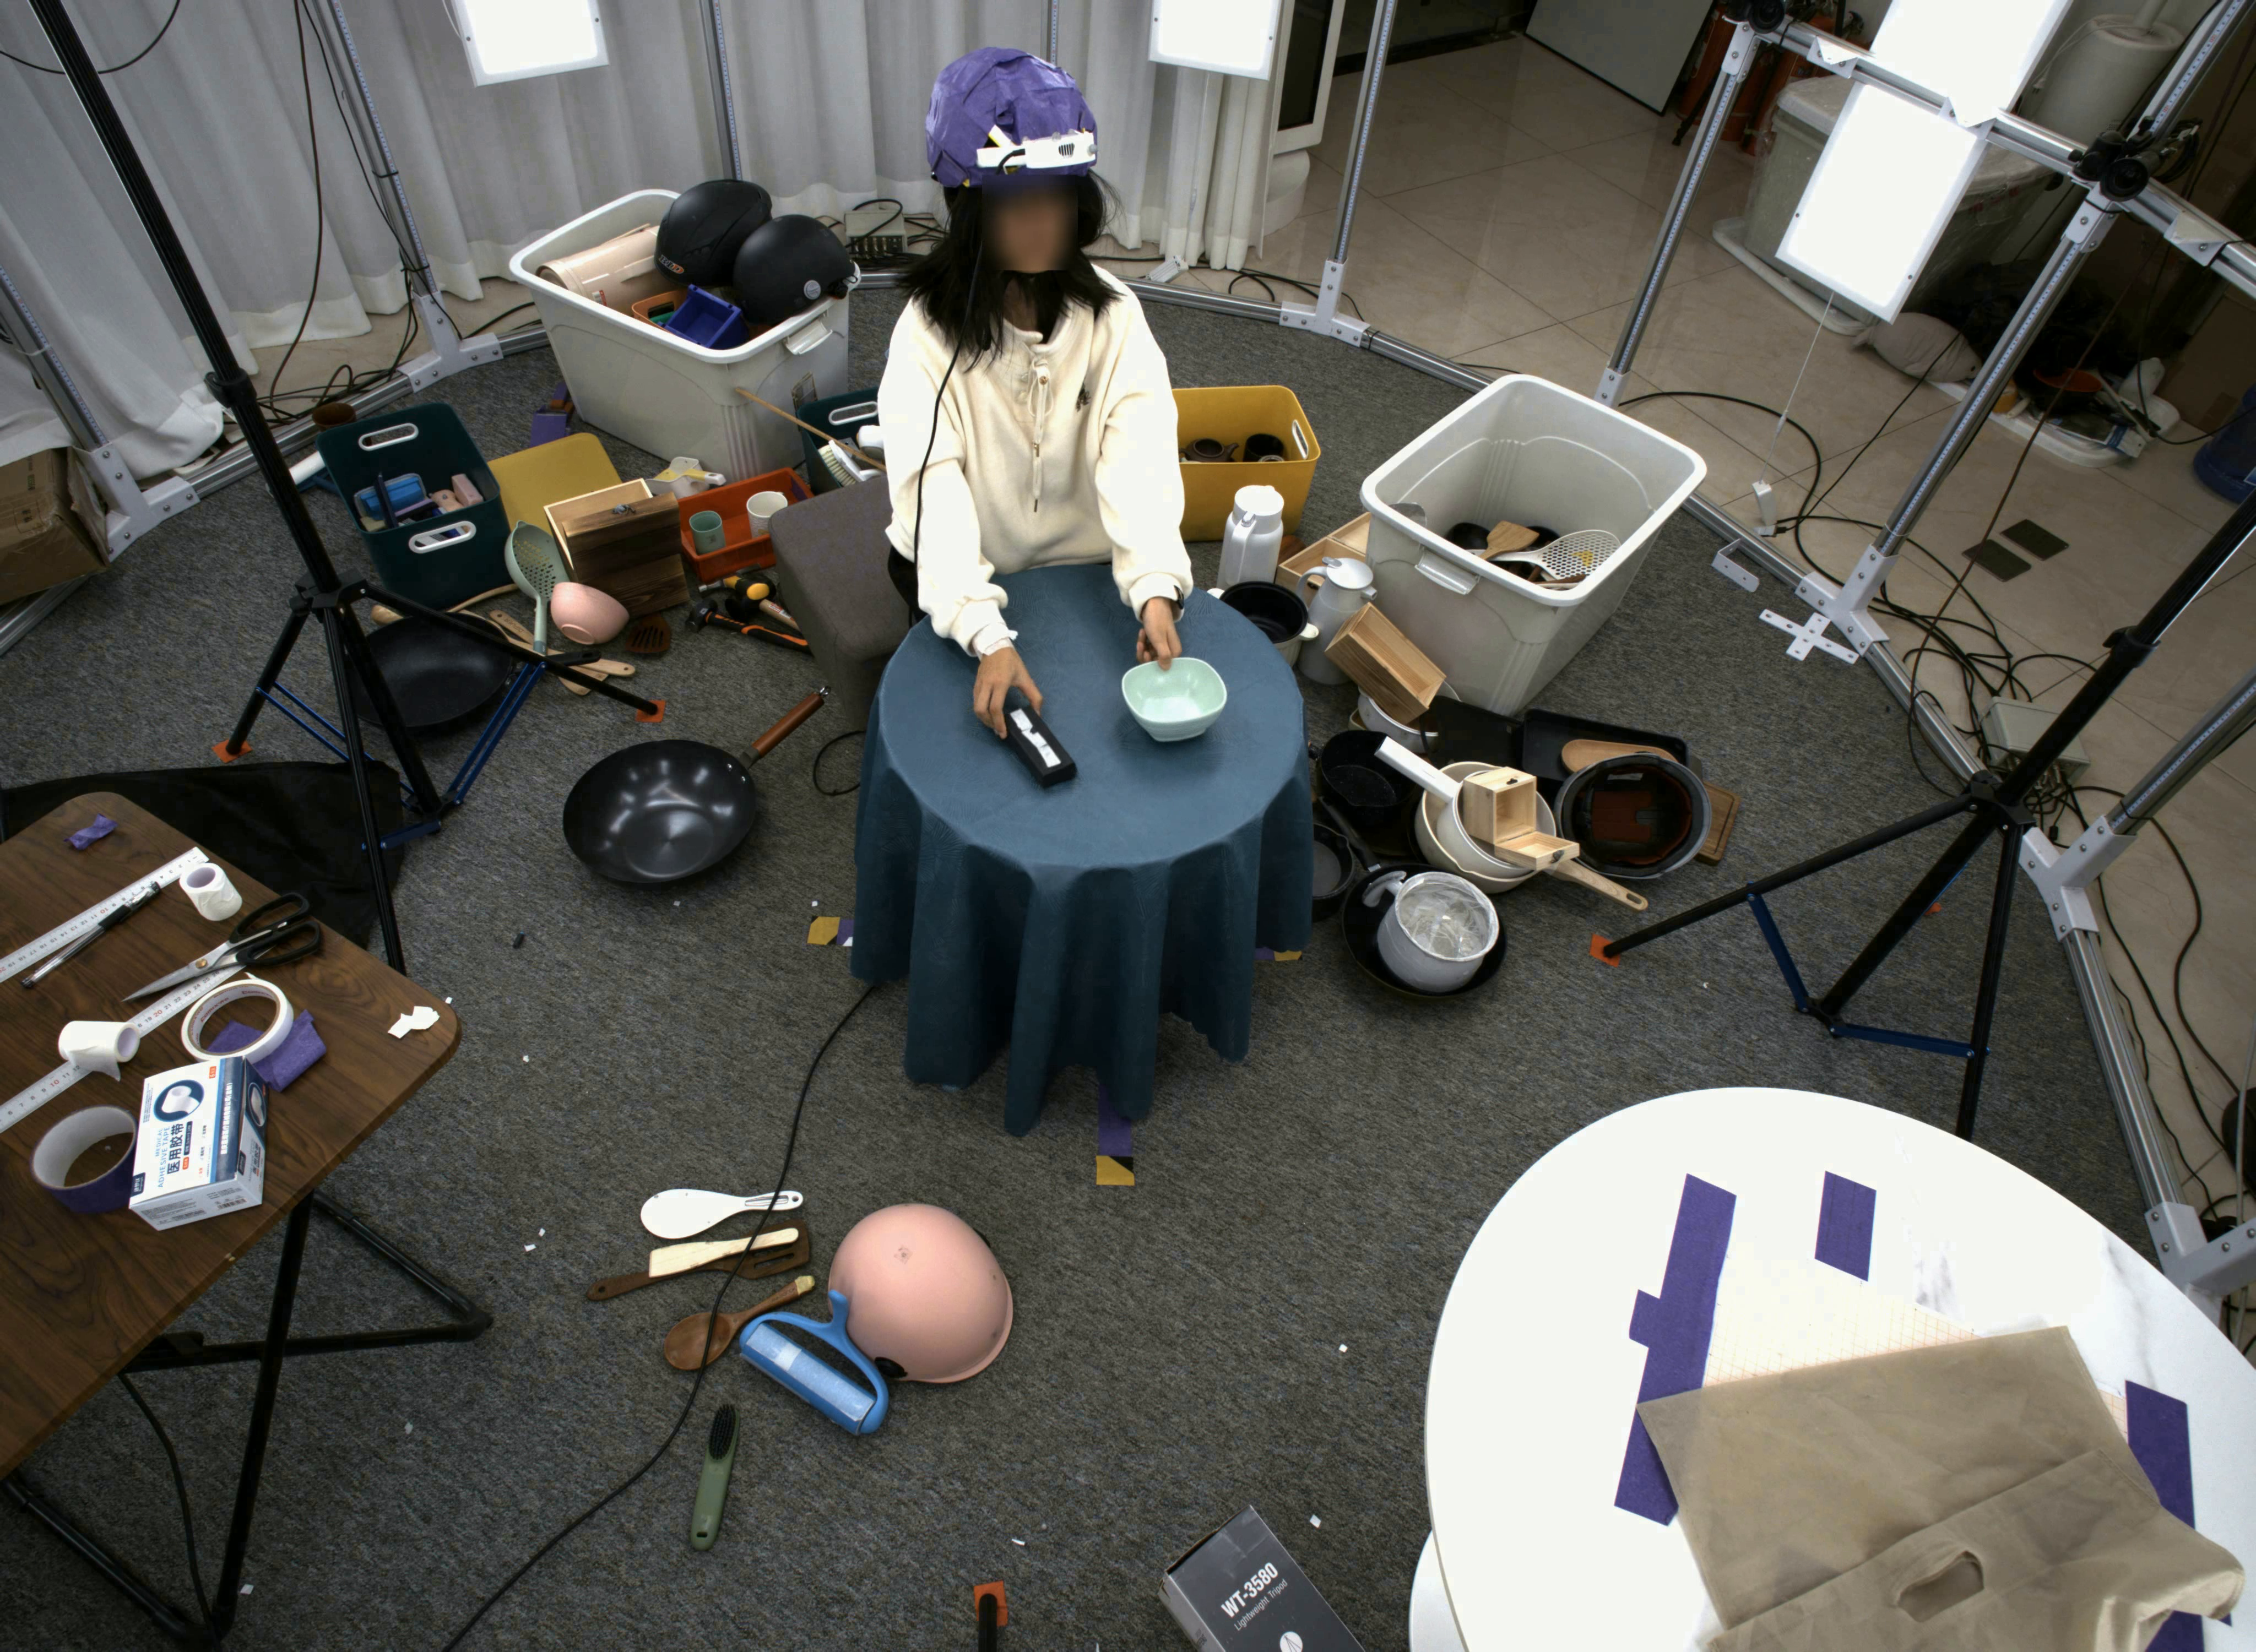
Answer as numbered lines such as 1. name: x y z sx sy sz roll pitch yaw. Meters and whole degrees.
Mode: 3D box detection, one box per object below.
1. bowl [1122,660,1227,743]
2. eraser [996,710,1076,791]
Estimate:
1. bowl: 0.062 -0.165 1.774 0.151 0.057 0.155 1 43 -1
2. eraser: -0.124 -0.103 1.732 0.054 0.030 0.128 -24 54 -22
